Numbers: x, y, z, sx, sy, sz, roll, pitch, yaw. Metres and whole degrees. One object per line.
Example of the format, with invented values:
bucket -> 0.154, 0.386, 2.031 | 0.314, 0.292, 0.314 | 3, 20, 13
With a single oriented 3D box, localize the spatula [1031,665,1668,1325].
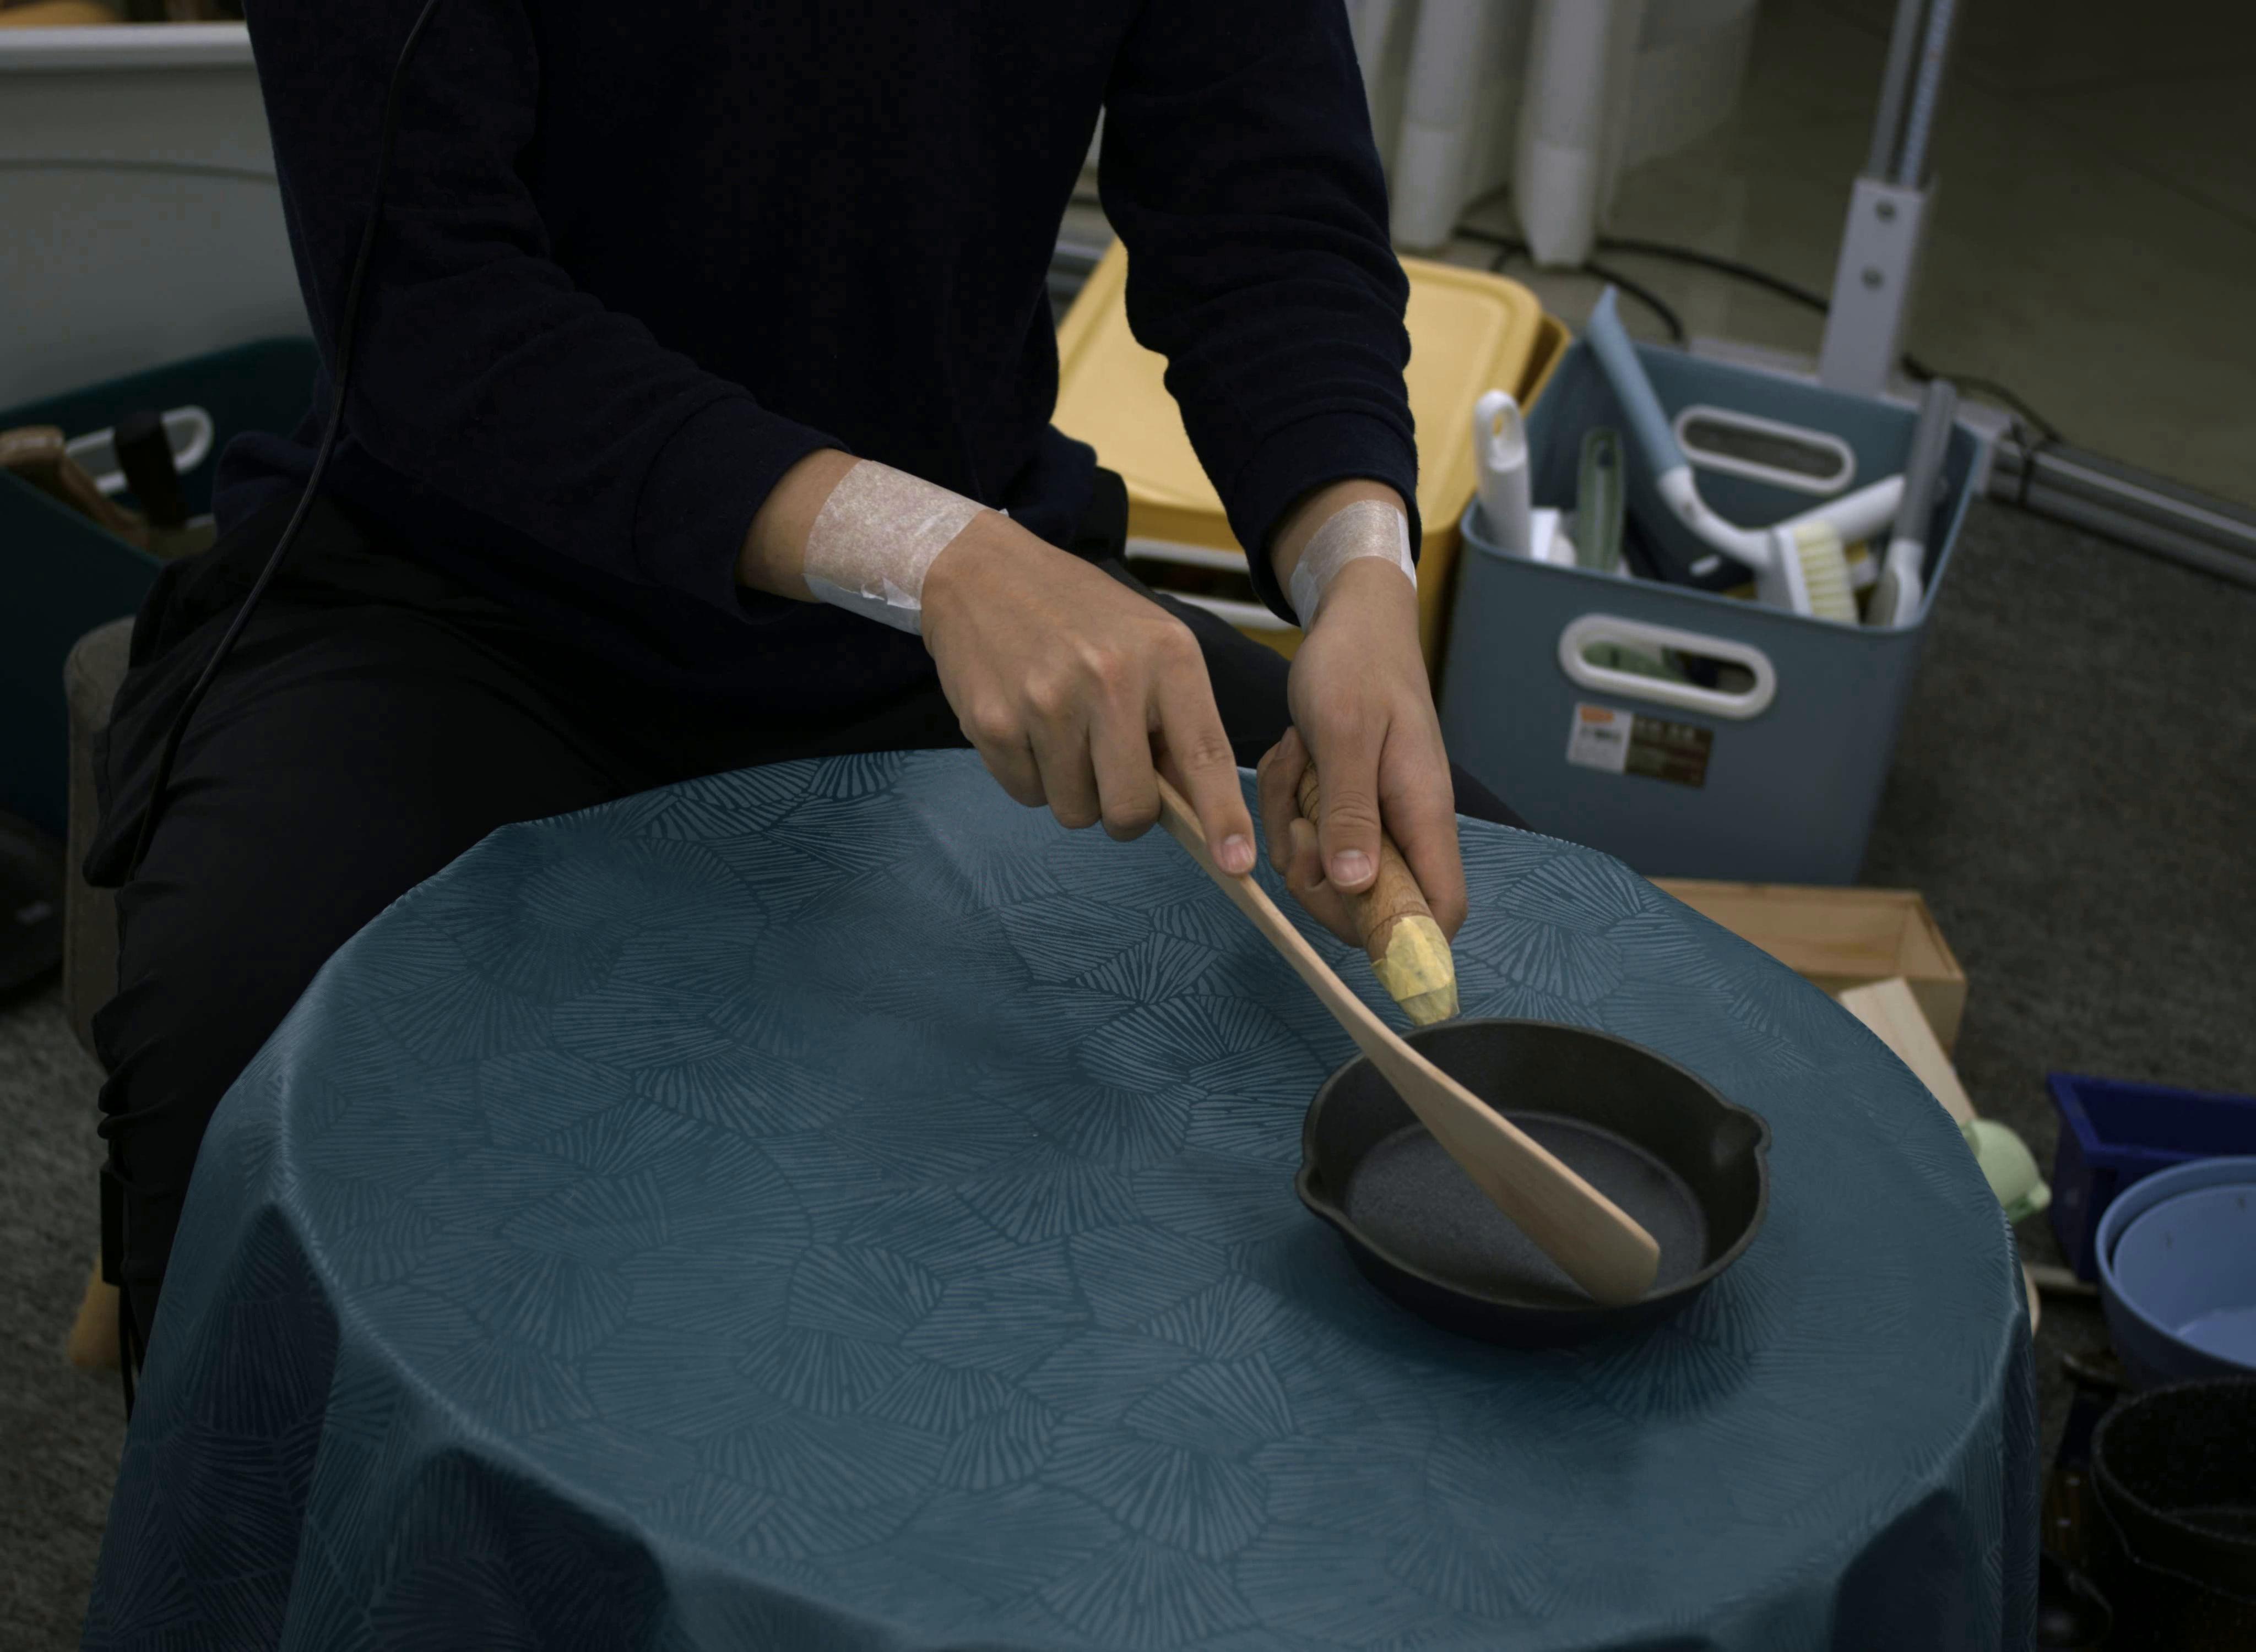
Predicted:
spatula -> 0.070, 0.051, 1.790 | 0.016, 0.079, 0.330 | -35, 60, -14

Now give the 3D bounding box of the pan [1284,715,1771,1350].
pan -> 0.112, 0.069, 1.844 | 0.168, 0.049, 0.327 | -6, 37, -15
